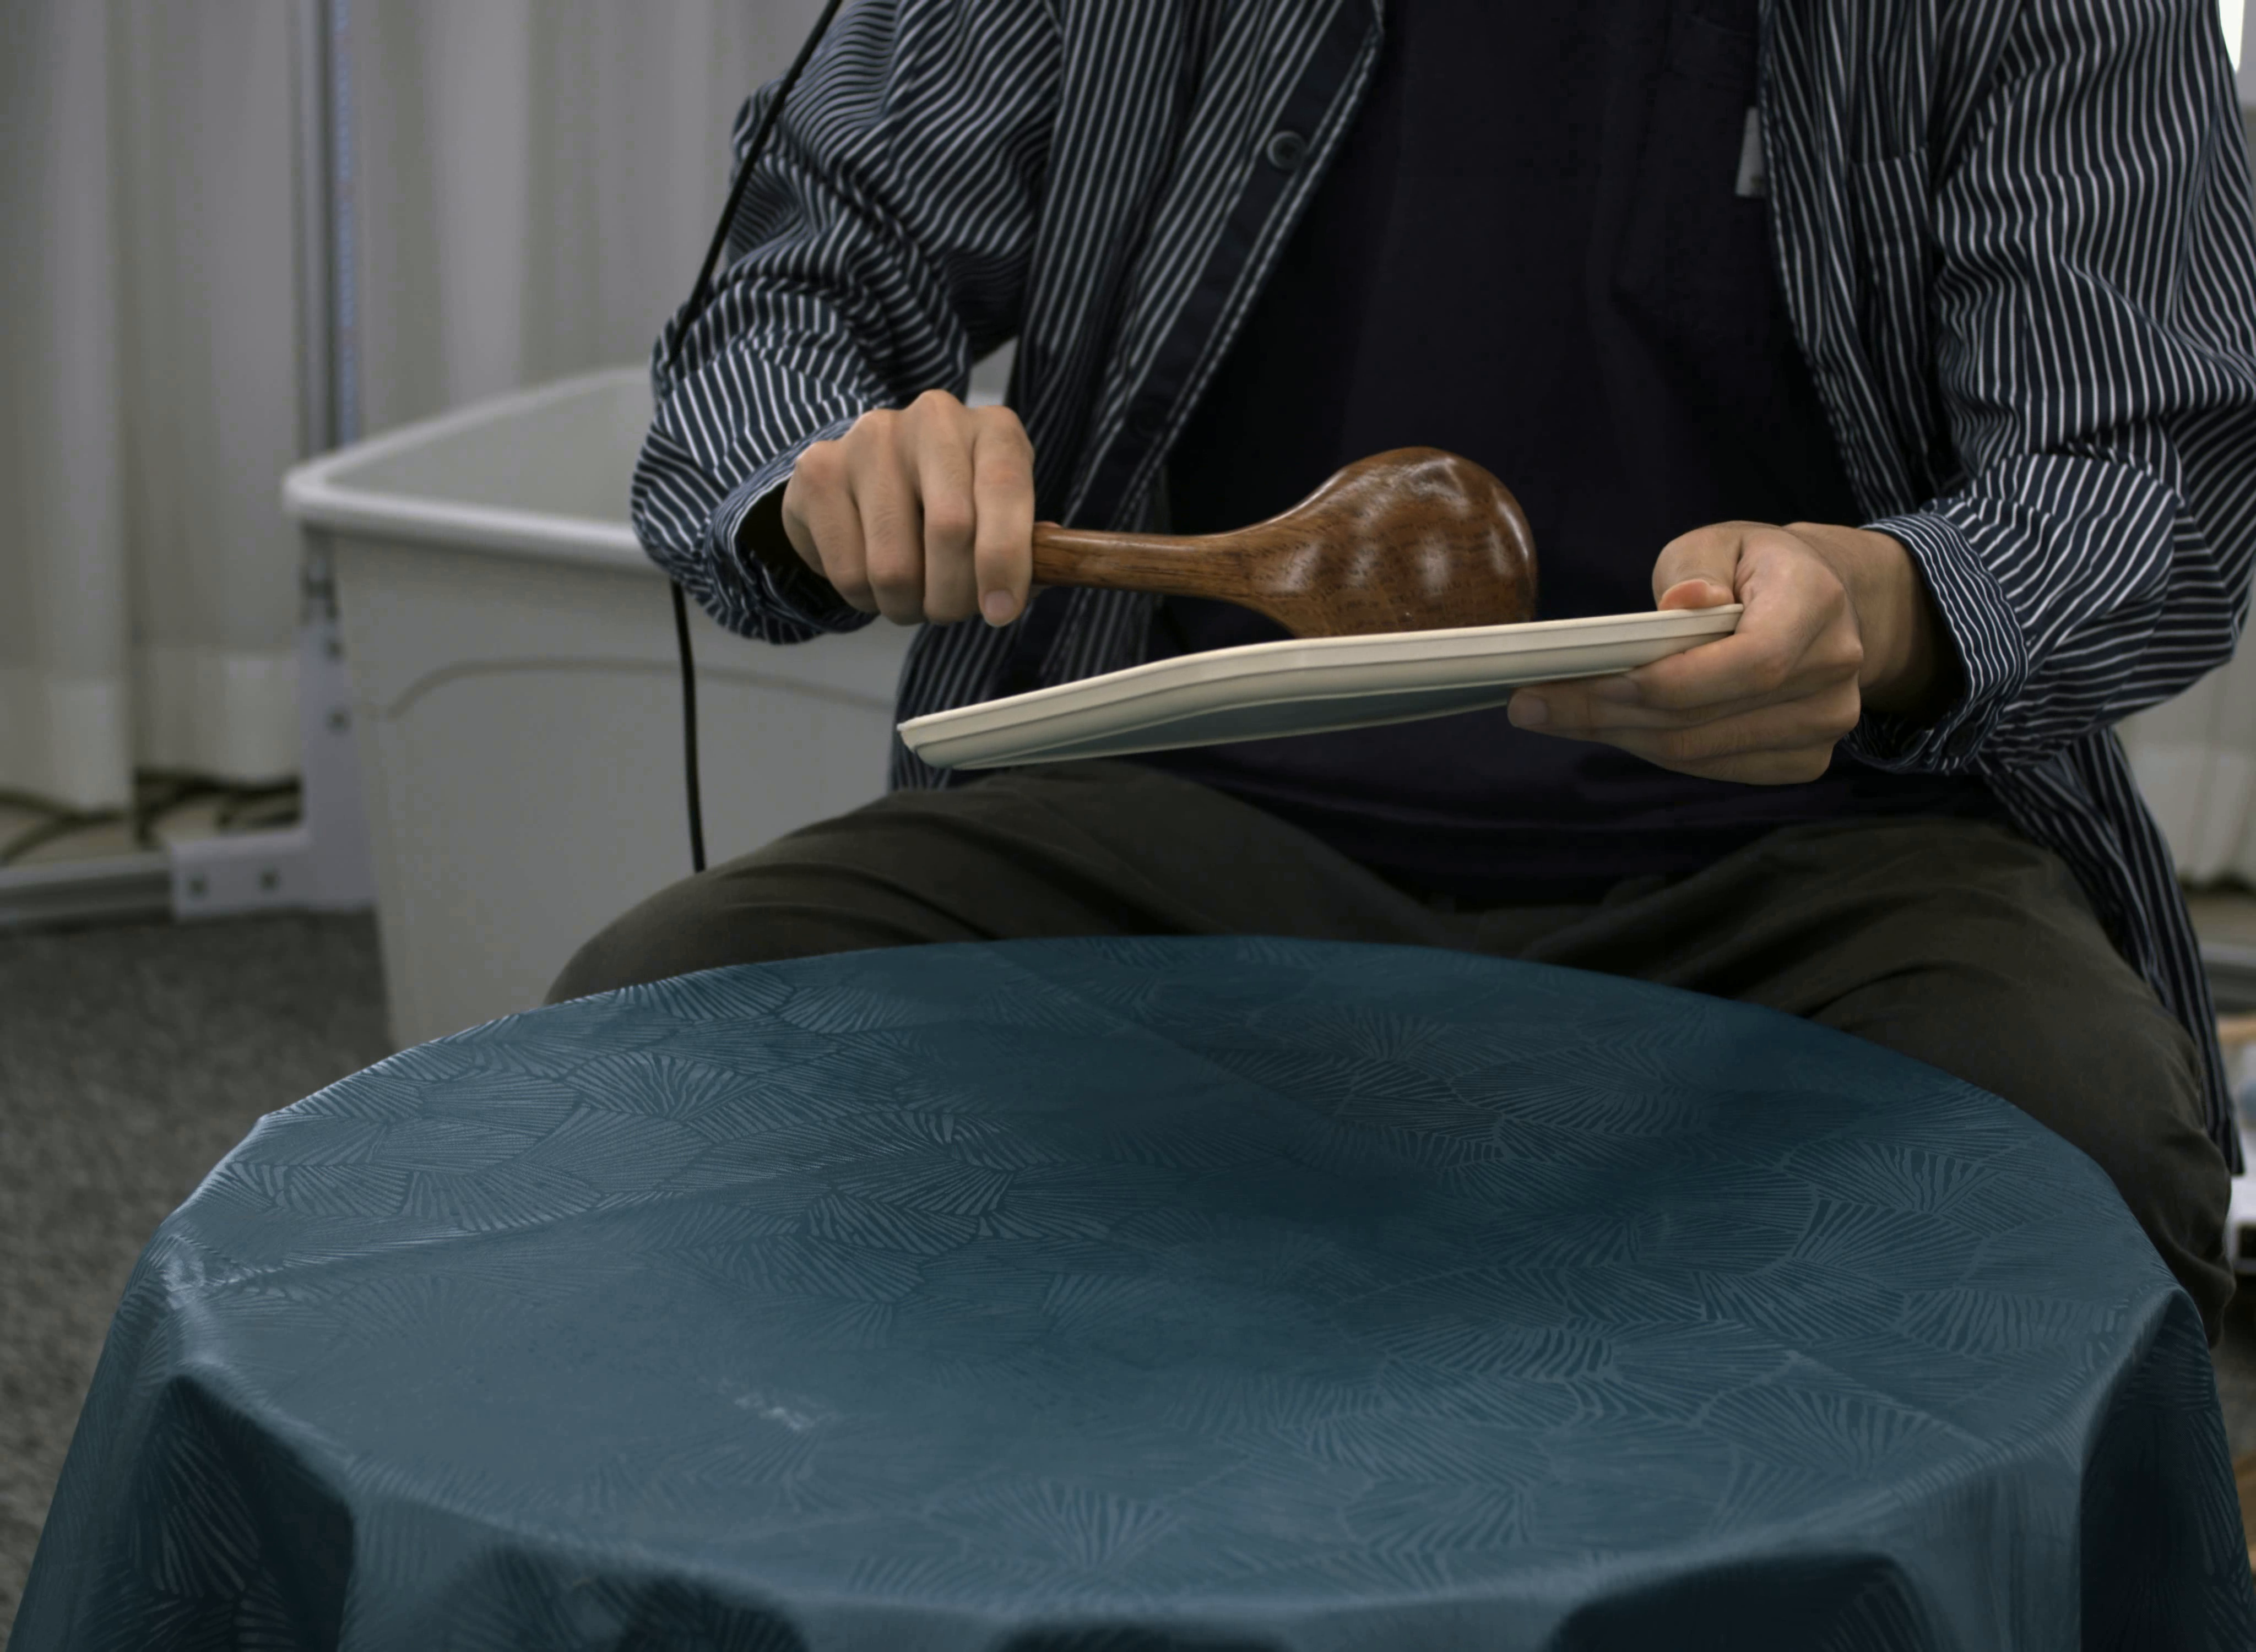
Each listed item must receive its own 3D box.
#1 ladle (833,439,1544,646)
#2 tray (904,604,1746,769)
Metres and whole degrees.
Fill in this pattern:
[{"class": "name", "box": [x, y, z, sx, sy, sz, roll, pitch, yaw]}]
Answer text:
[{"class": "ladle", "box": [0.019, -0.087, 1.745, 0.077, 0.082, 0.271, 7, -2, -44]}, {"class": "tray", "box": [0.063, -0.042, 1.620, 0.241, 0.017, 0.170, -6, -4, -42]}]
